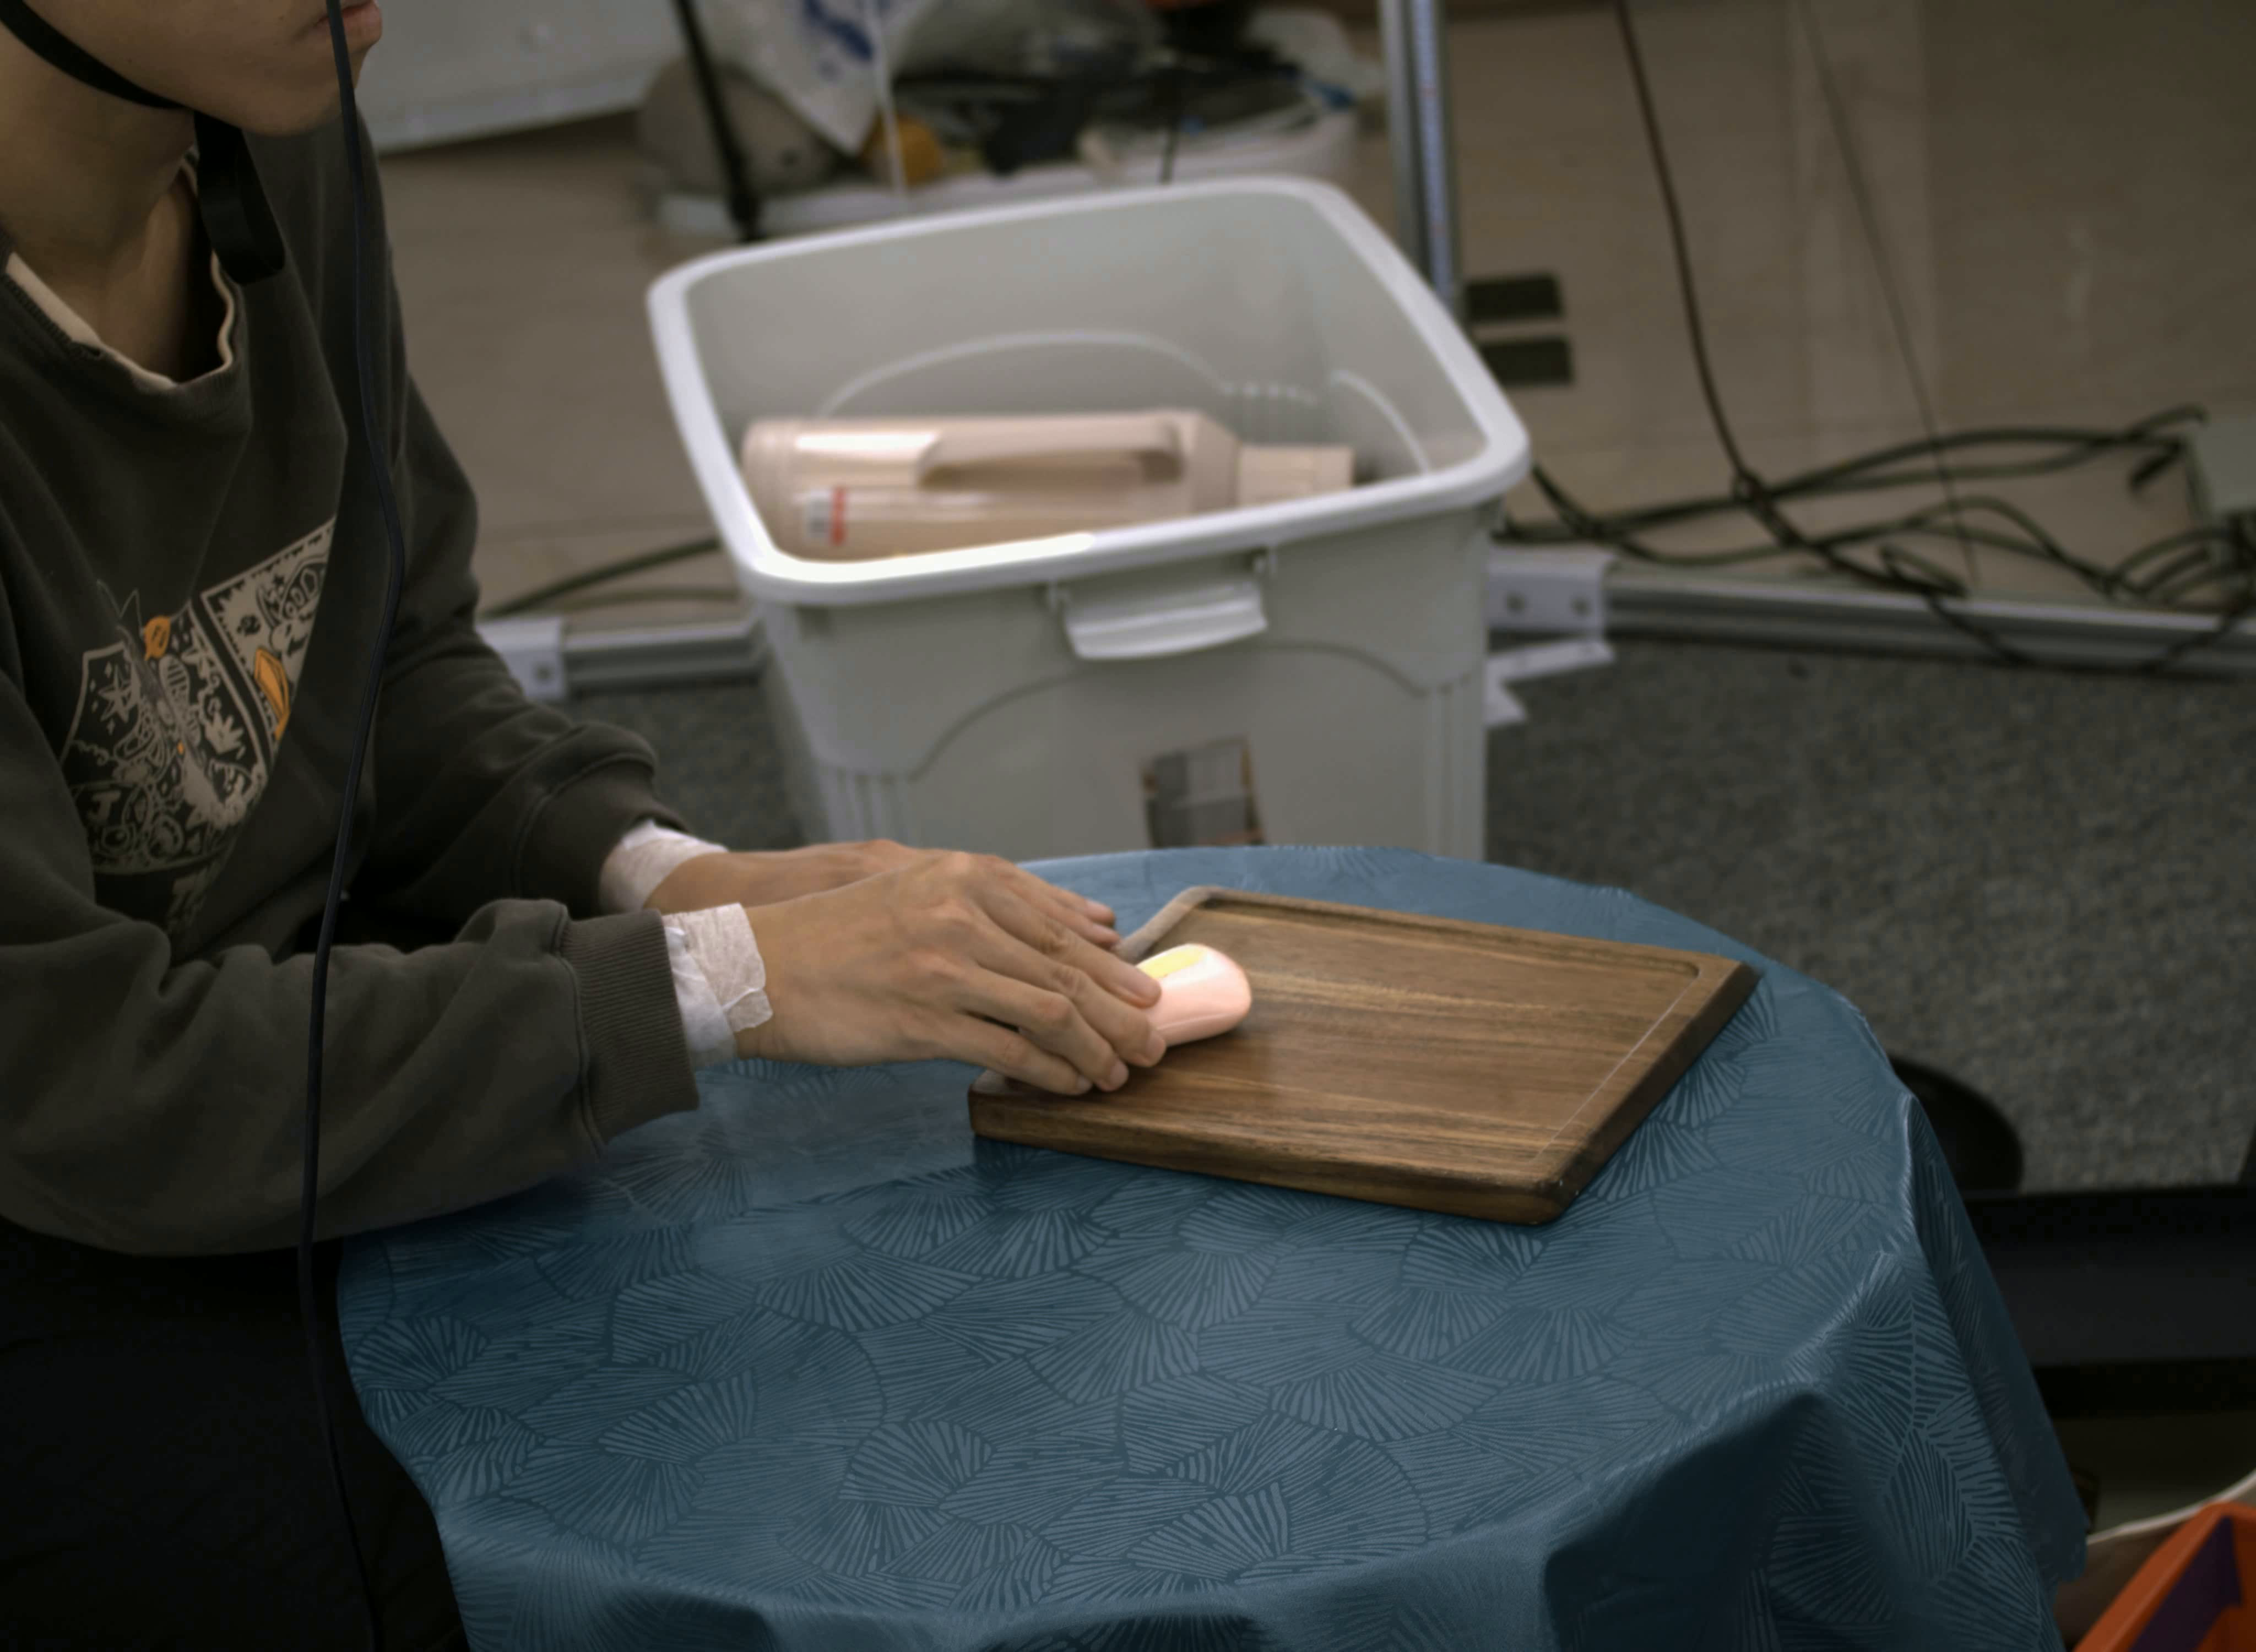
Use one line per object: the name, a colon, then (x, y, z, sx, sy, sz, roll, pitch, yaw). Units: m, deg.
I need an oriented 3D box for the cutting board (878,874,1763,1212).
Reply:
cutting board: (0.055, 0.075, 2.244, 0.350, 0.023, 0.198, 8, 29, 29)

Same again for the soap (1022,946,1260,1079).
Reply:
soap: (0.005, 0.073, 2.216, 0.094, 0.031, 0.050, -18, 28, -23)
